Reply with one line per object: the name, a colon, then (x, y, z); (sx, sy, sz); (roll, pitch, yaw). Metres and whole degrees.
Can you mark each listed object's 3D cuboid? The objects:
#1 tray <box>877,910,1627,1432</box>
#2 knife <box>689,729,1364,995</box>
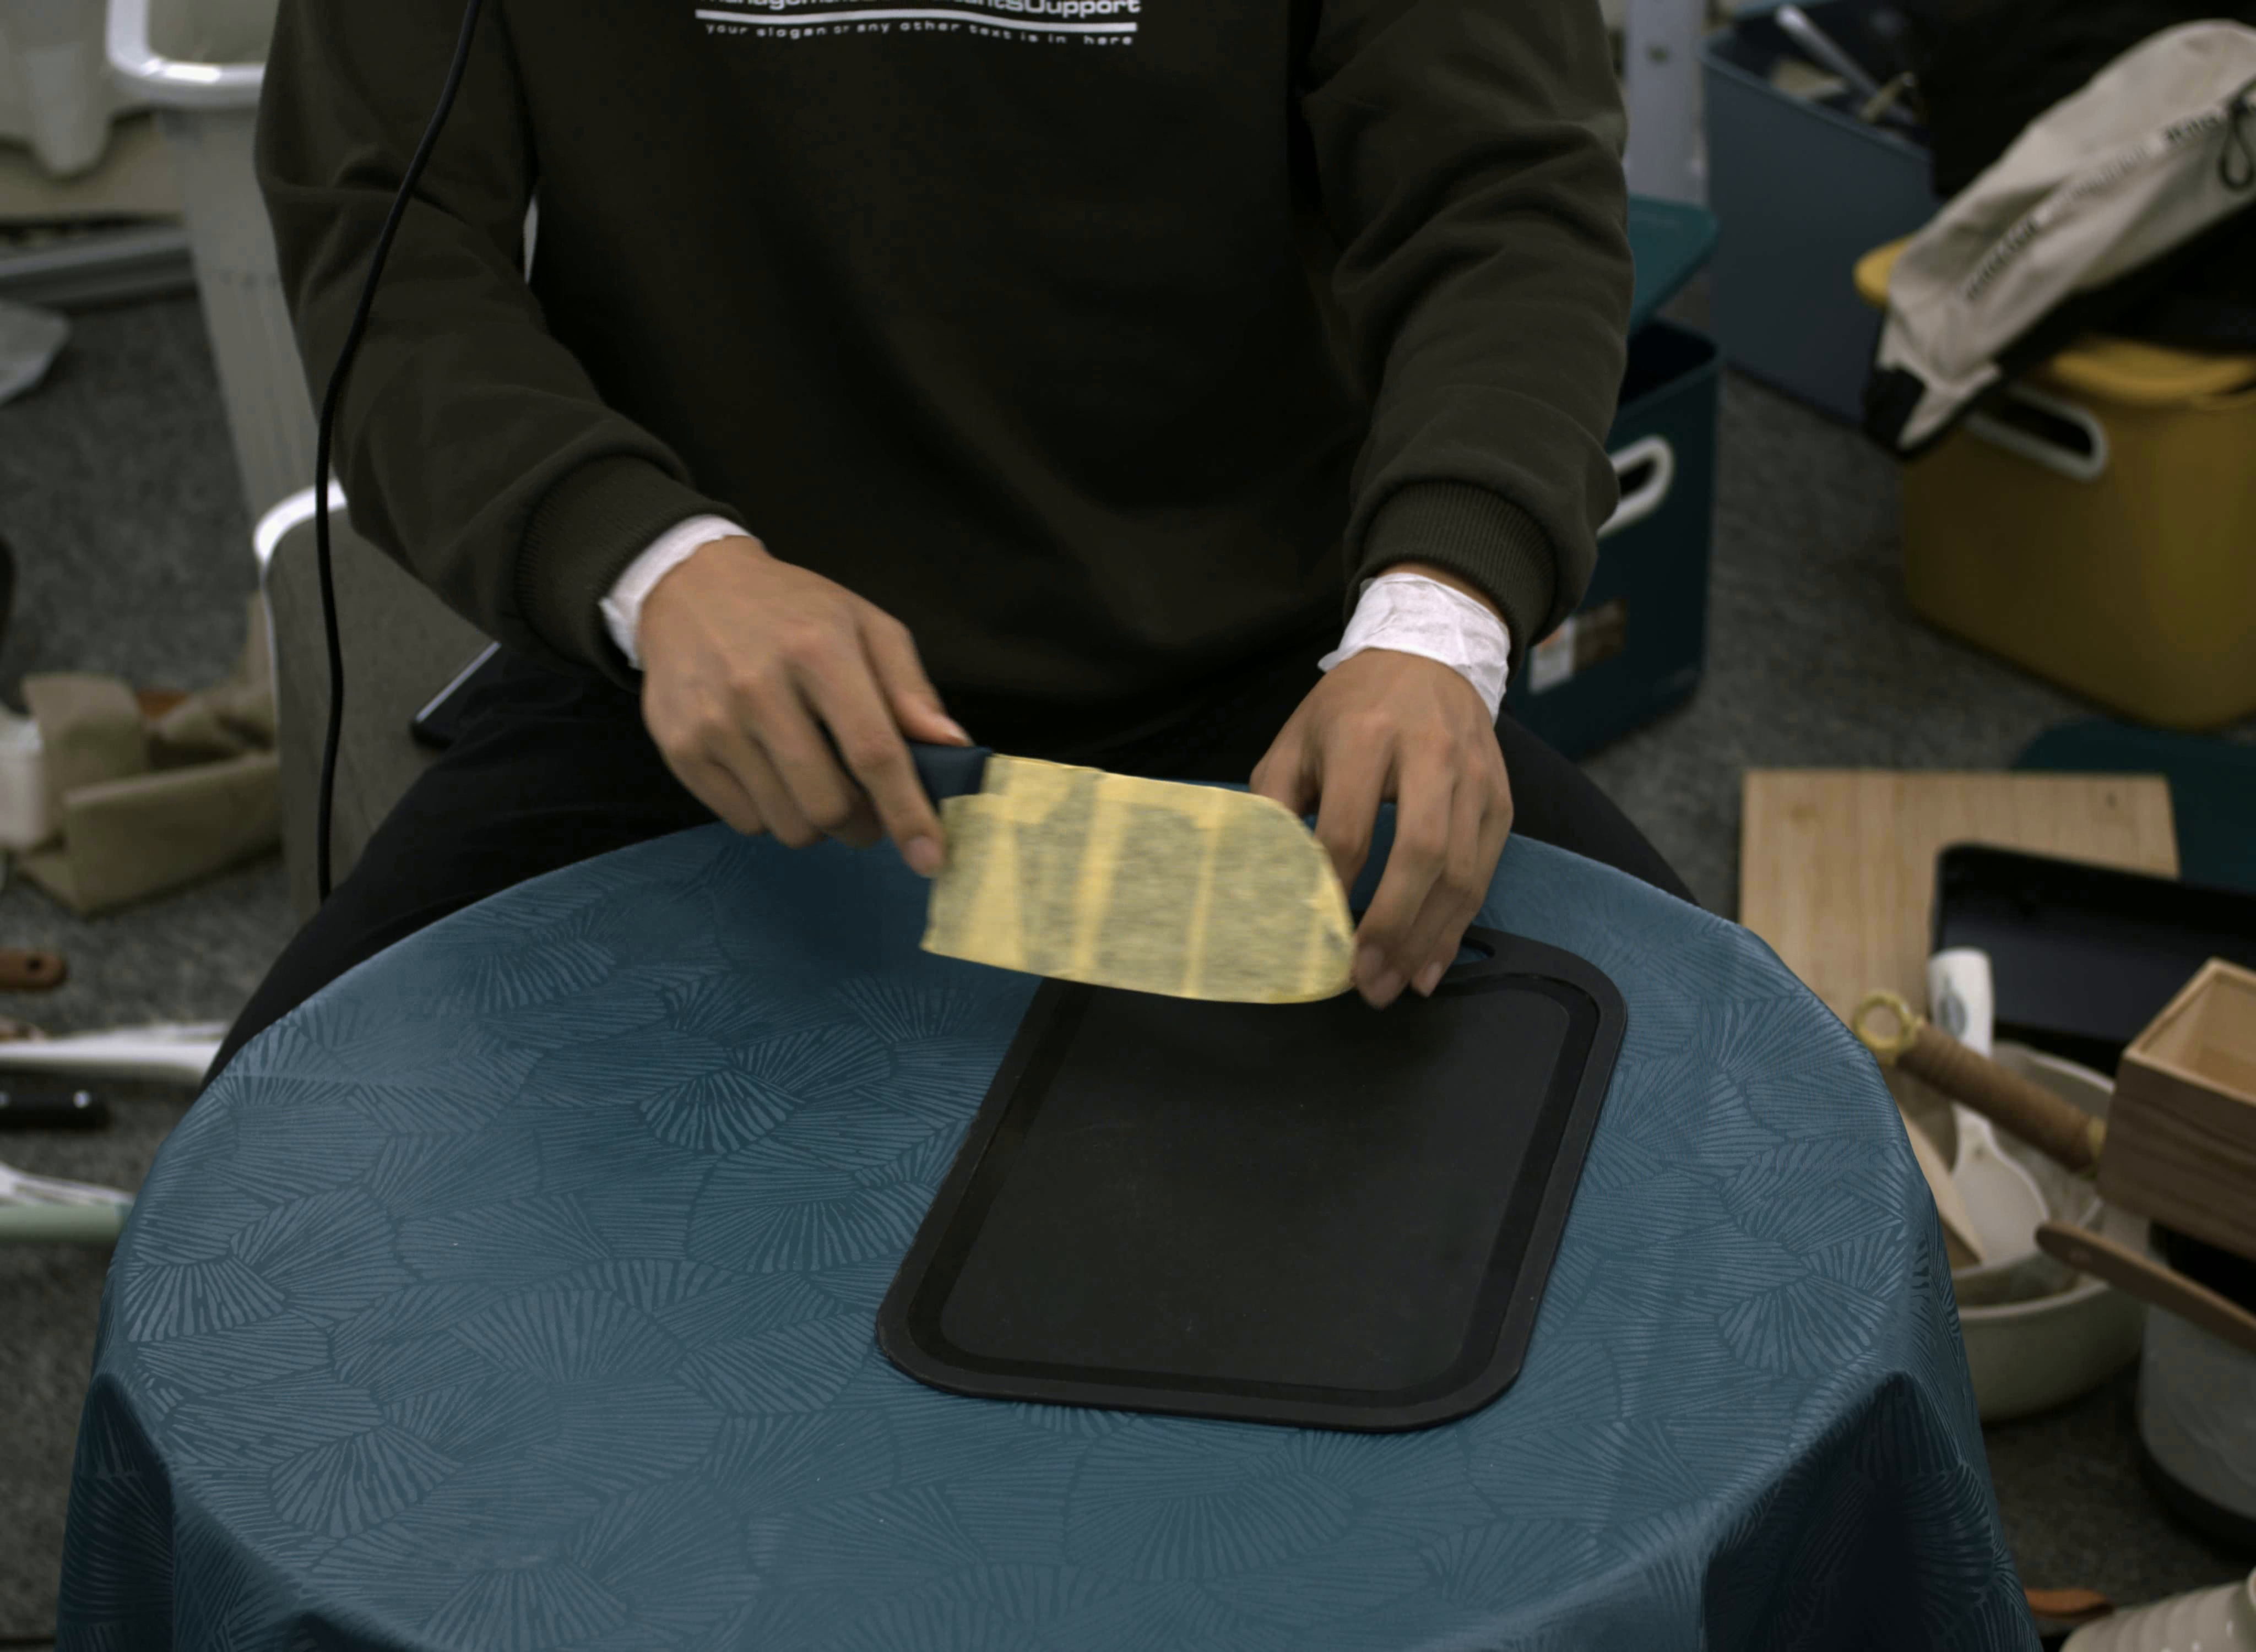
tray: (0.048, 0.105, 1.880); (0.209, 0.009, 0.331); (4, 28, 13)
knife: (-0.039, 0.011, 1.940); (0.288, 0.081, 0.027); (12, -3, 33)
